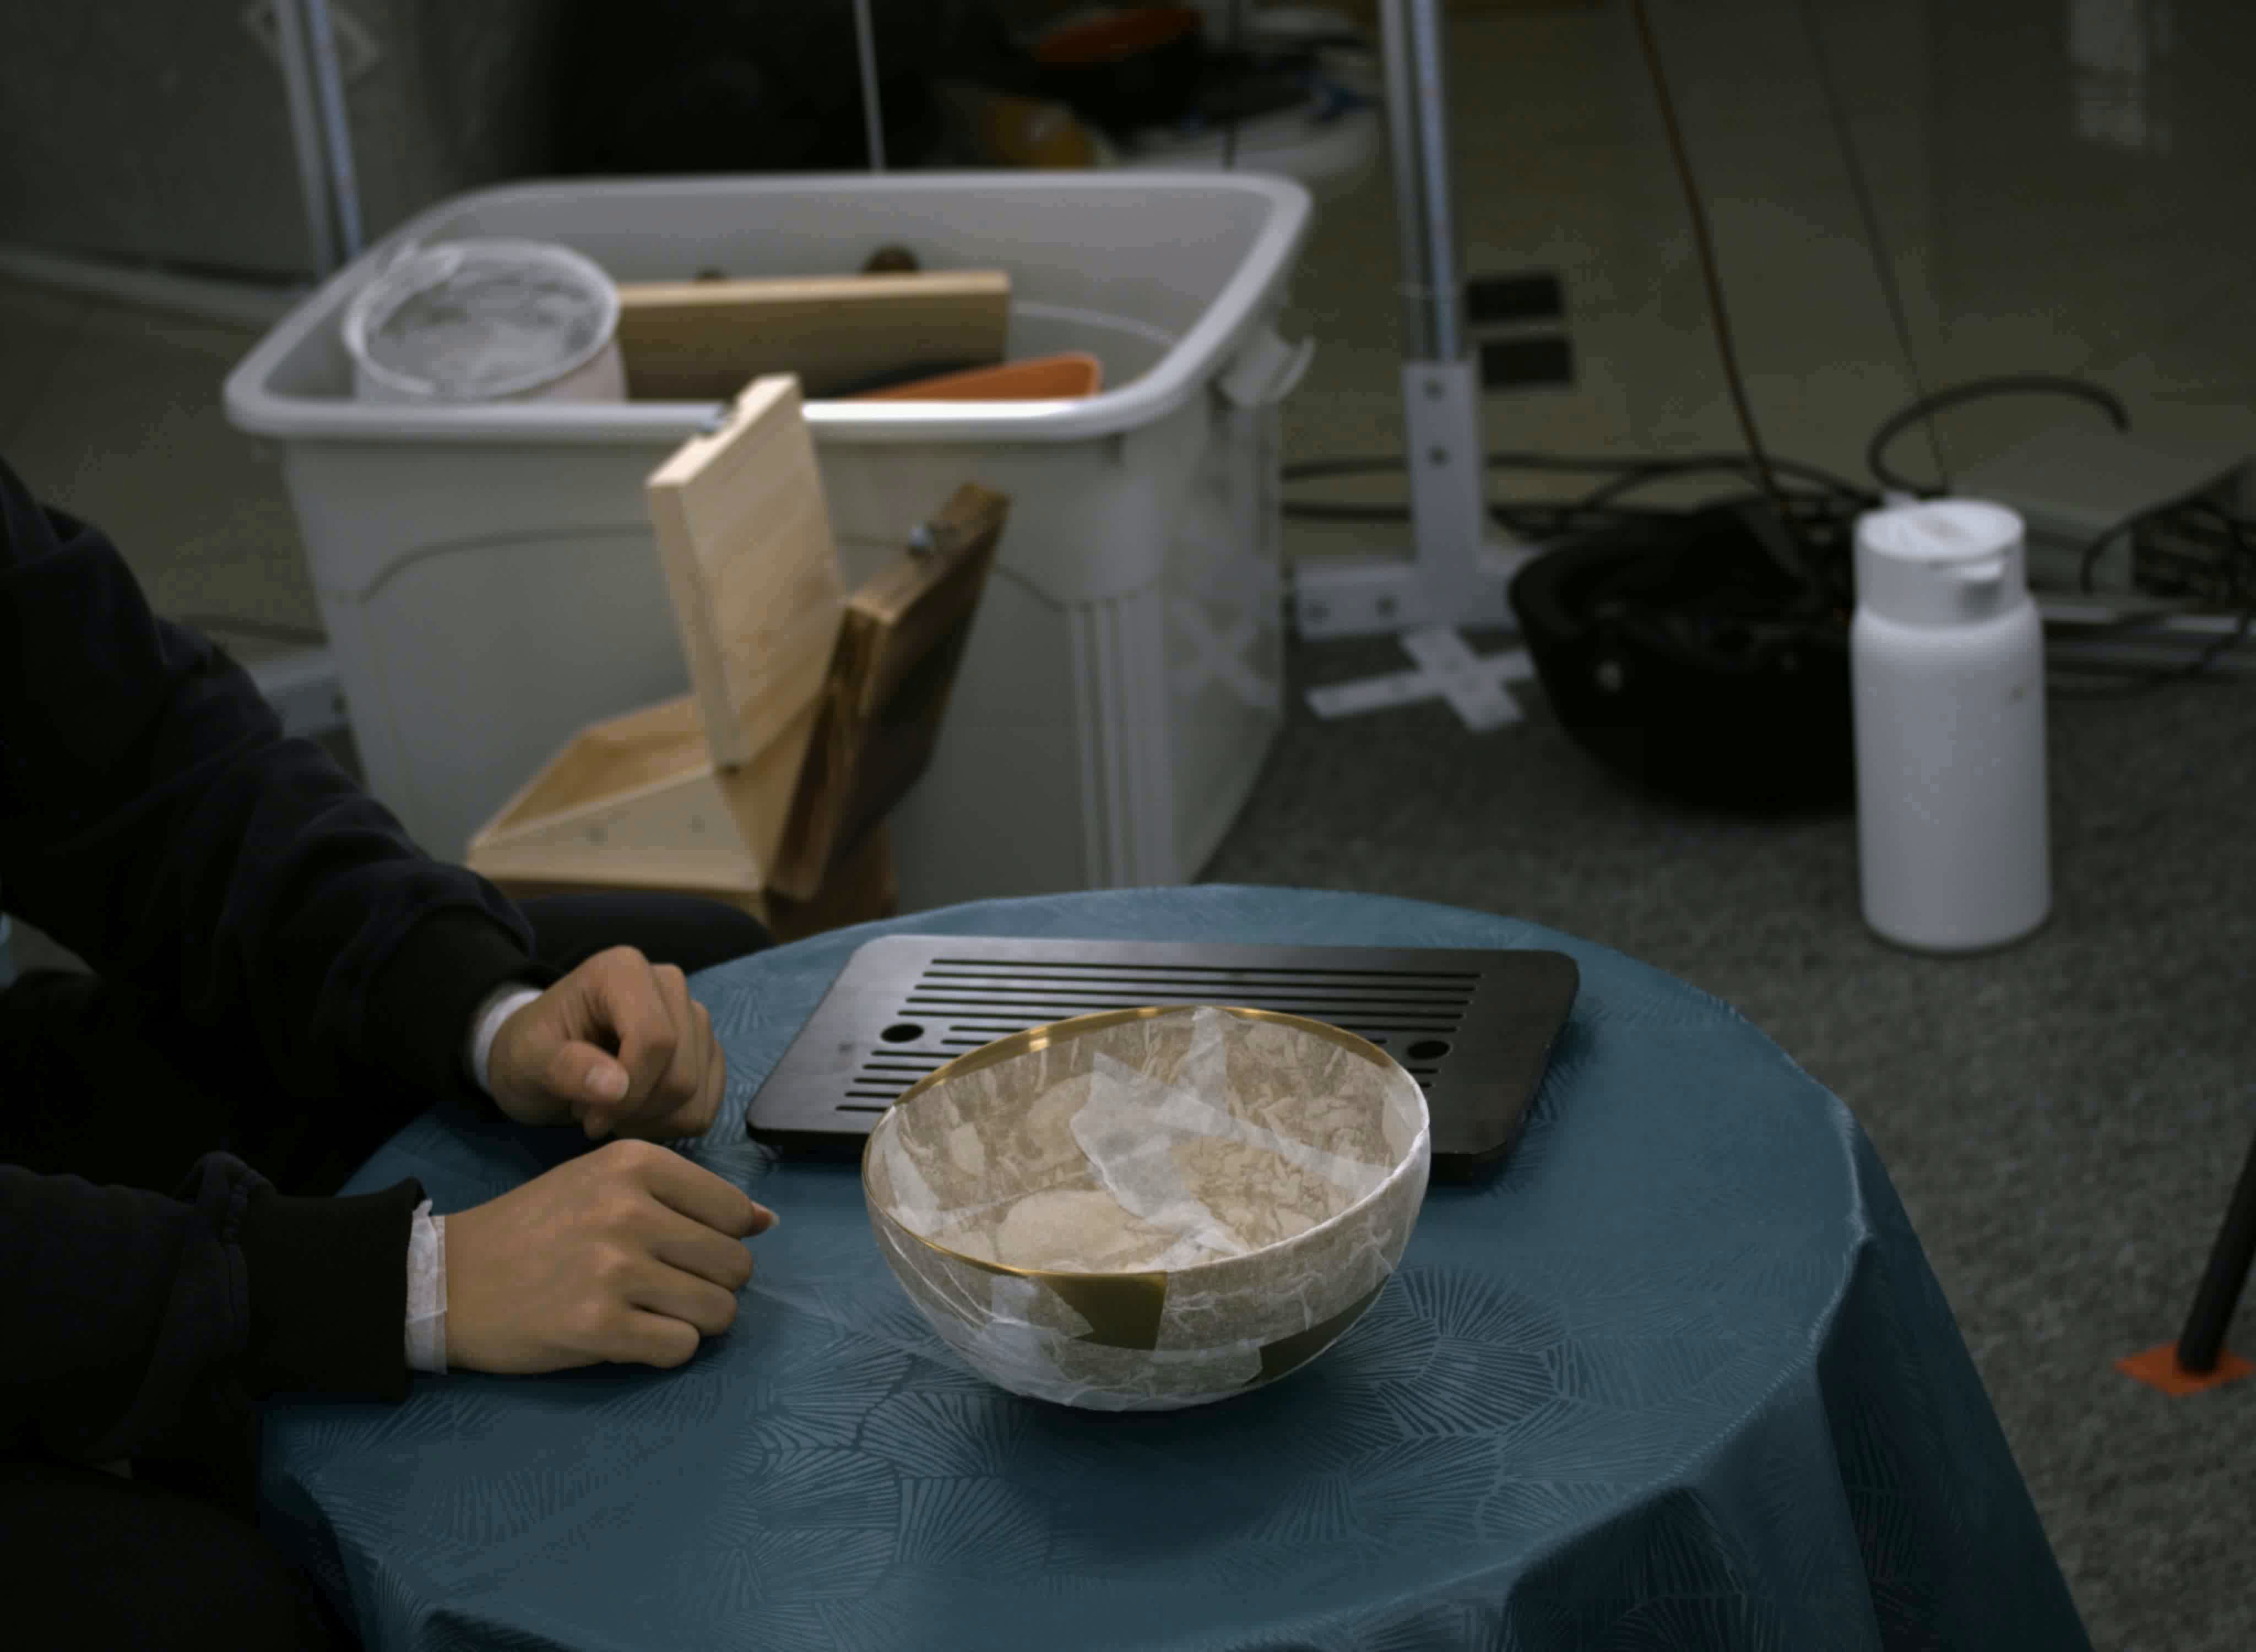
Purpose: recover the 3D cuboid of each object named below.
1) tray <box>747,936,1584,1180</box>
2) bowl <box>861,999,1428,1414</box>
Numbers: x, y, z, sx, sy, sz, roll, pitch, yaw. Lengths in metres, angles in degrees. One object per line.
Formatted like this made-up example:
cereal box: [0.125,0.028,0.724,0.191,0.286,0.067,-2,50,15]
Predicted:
tray: [0.017,0.091,2.232,0.305,0.019,0.168,1,26,16]
bowl: [0.008,0.147,2.023,0.214,0.096,0.211,-6,26,3]
